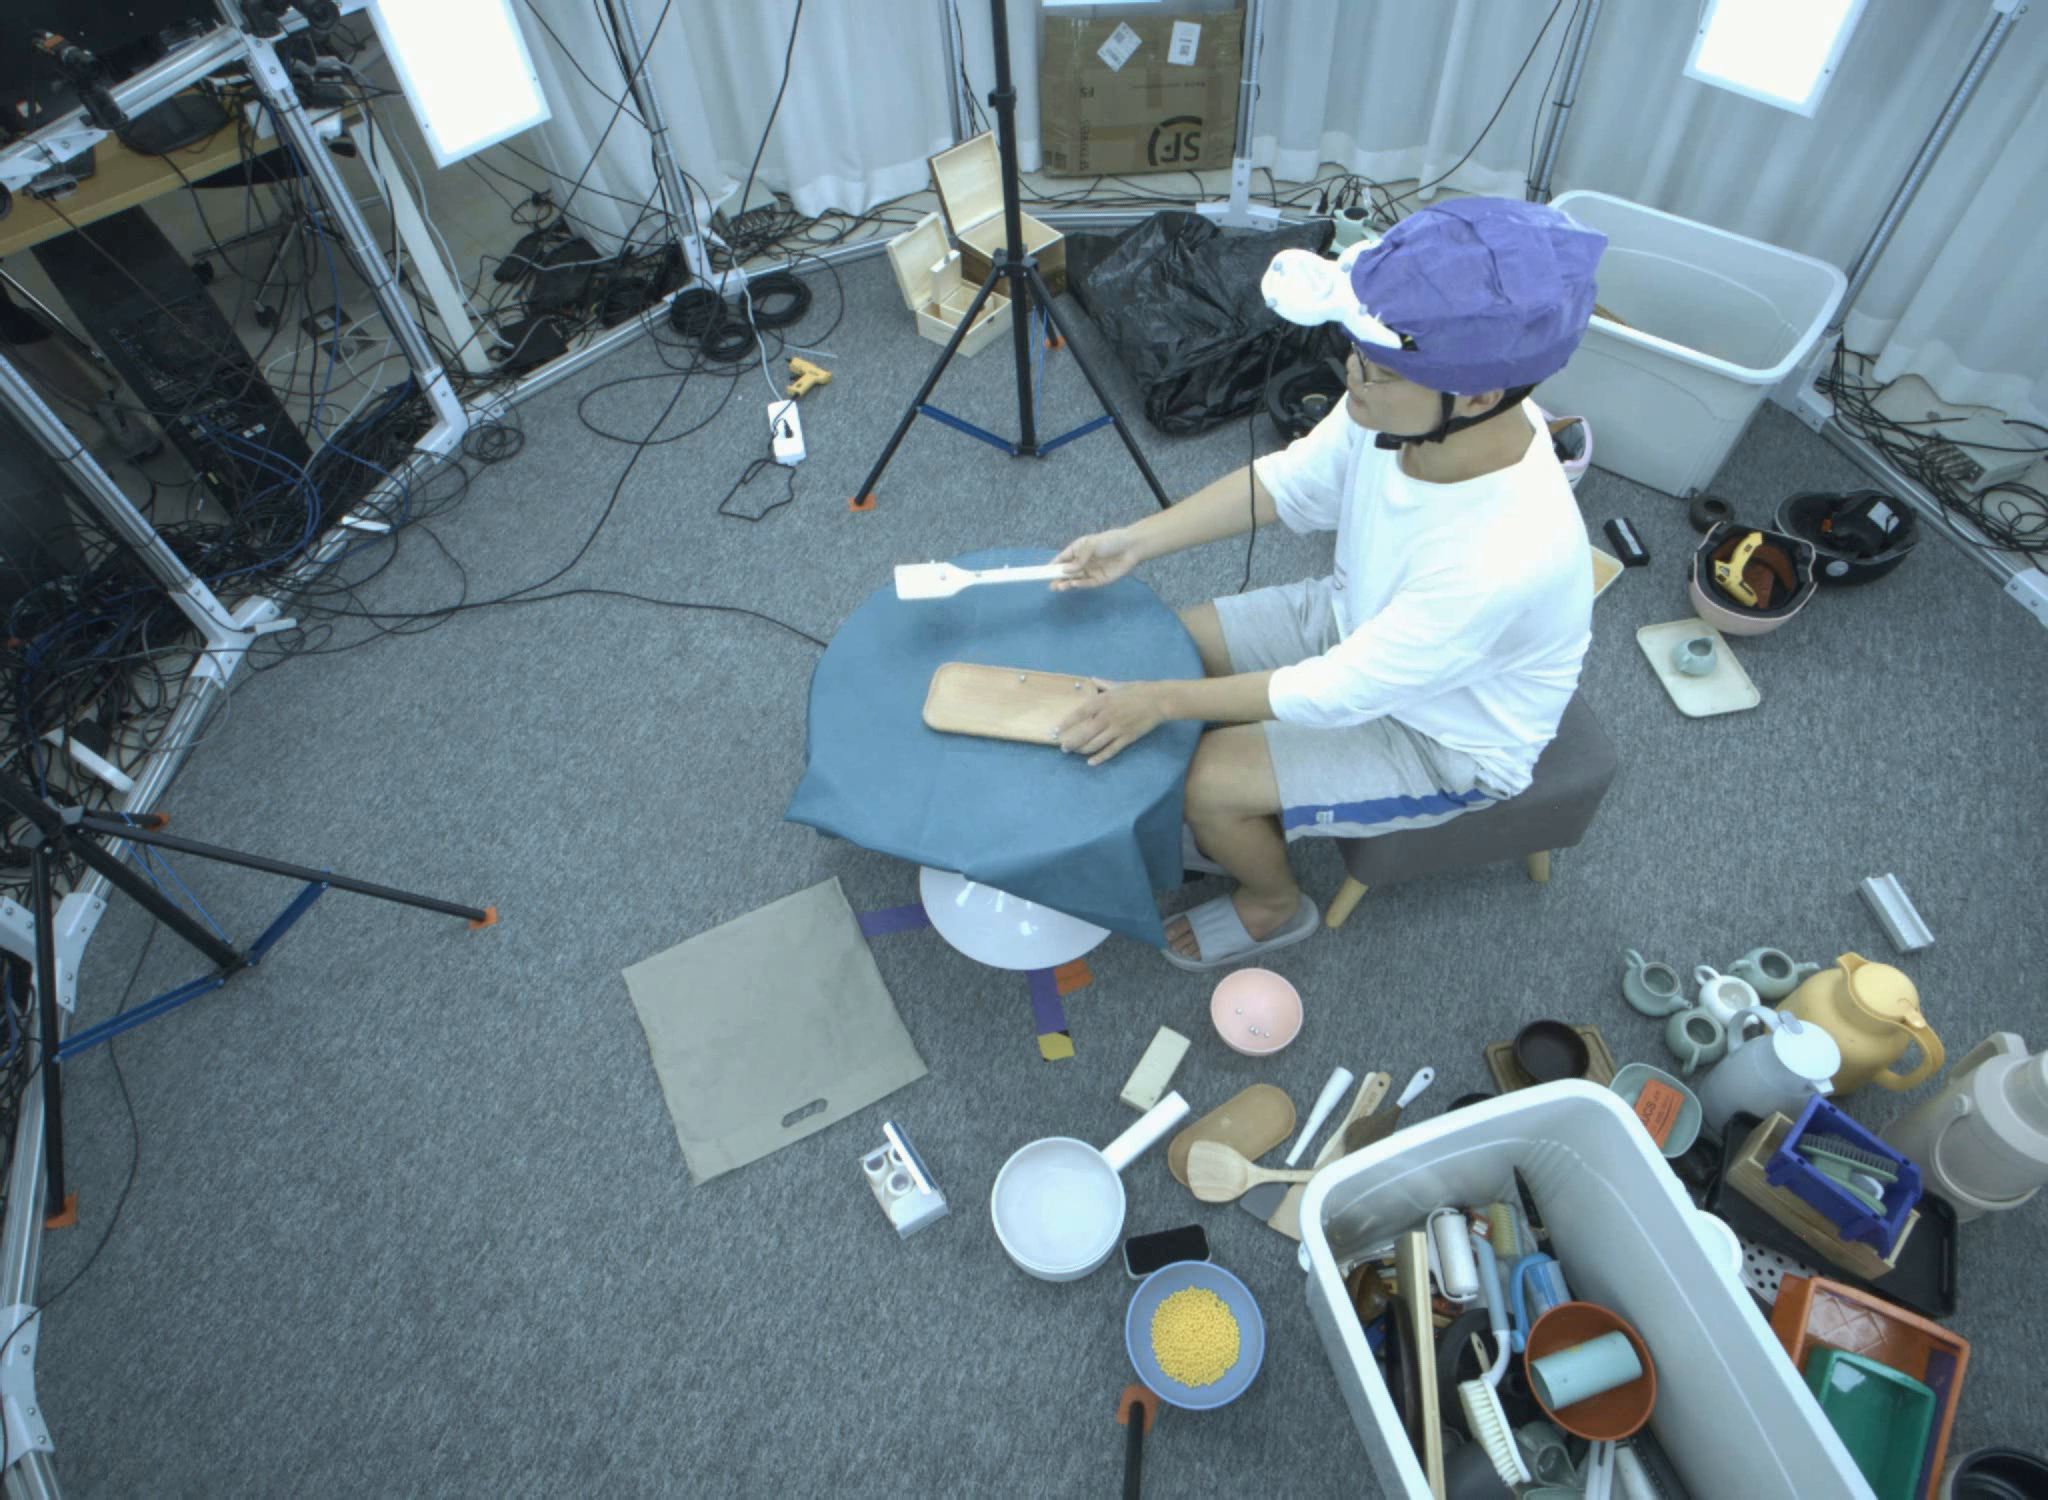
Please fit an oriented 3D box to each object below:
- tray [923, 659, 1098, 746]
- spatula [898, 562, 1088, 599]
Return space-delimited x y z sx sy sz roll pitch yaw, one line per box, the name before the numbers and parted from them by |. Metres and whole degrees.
tray | -0.019 -0.070 1.826 0.249 0.023 0.130 9 53 8
spatula | -0.047 -0.269 1.885 0.295 0.011 0.071 -5 56 -9
